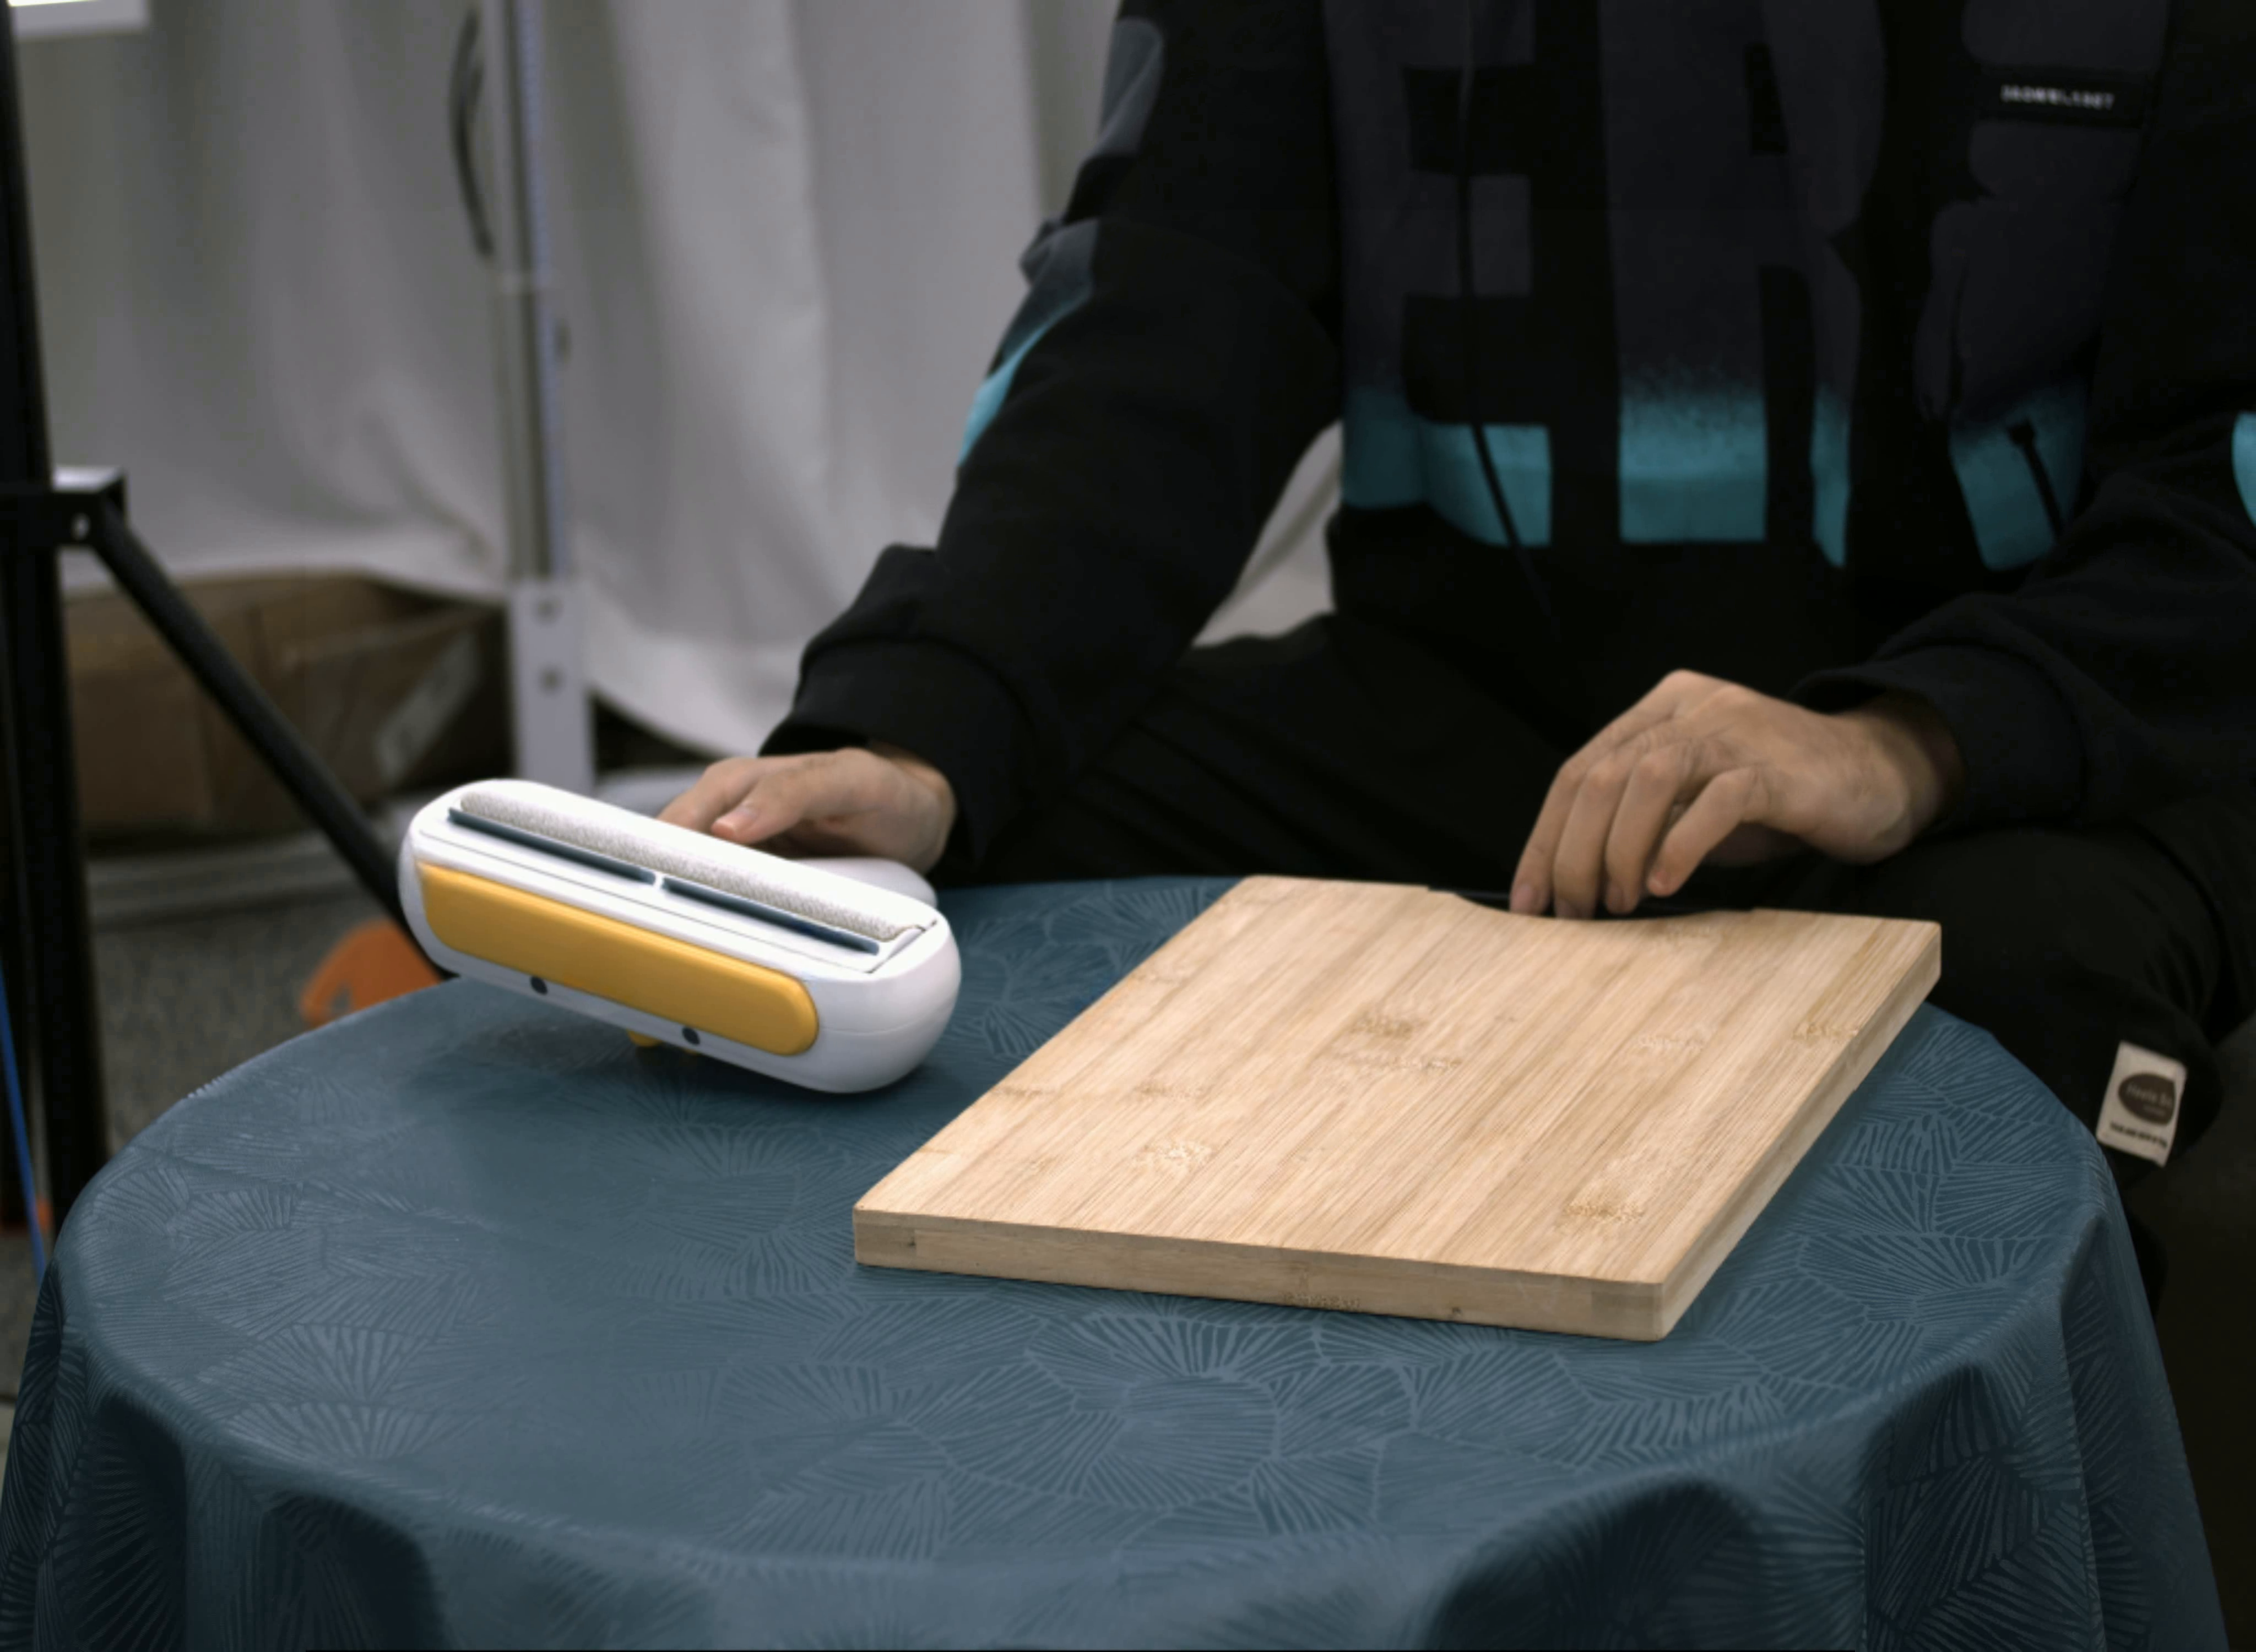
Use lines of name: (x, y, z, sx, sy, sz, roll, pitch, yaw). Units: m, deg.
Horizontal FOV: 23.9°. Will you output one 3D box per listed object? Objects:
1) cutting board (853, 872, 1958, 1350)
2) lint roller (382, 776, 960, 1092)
cutting board: (0.095, 0.079, 1.617, 0.254, 0.023, 0.344, 4, 17, 21)
lint roller: (-0.120, 0.026, 1.744, 0.196, 0.074, 0.188, 13, 20, 31)
